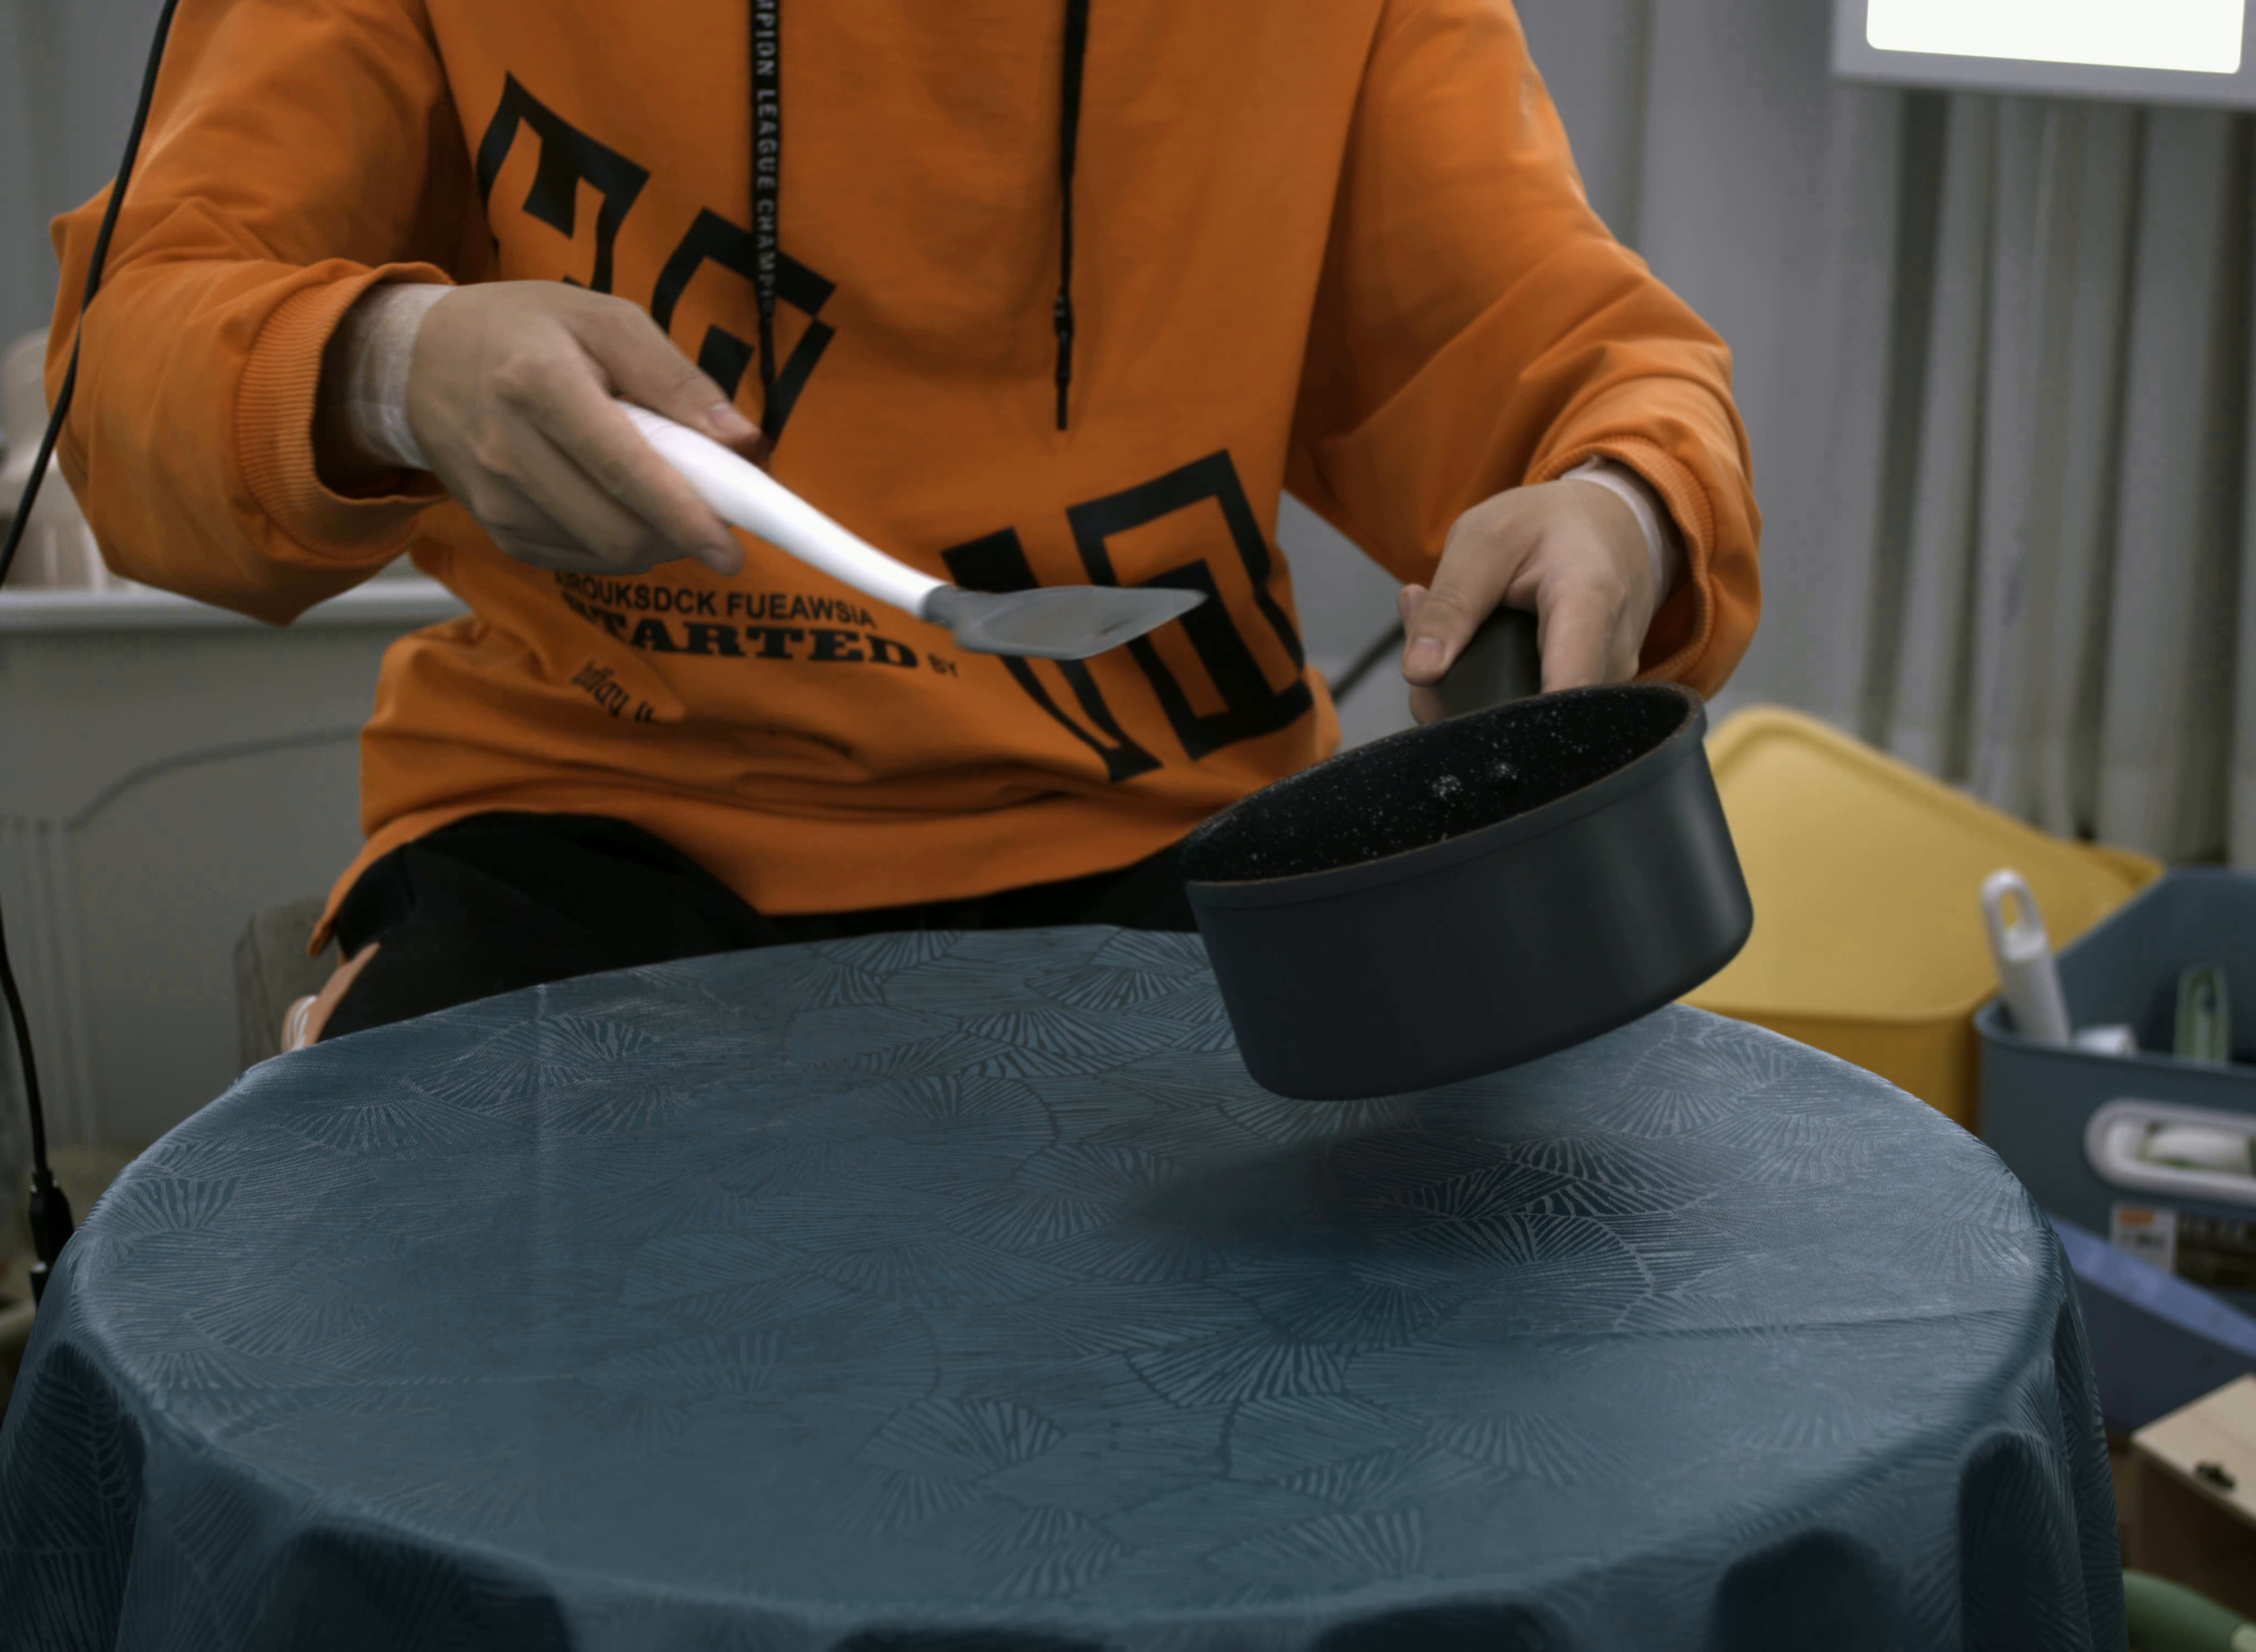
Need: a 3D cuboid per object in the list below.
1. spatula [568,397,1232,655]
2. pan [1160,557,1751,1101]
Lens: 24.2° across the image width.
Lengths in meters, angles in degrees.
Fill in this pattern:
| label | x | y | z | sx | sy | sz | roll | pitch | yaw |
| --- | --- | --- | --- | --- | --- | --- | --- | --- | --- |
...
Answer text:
| label | x | y | z | sx | sy | sz | roll | pitch | yaw |
| --- | --- | --- | --- | --- | --- | --- | --- | --- | --- |
| spatula | -0.078 | -0.090 | 1.642 | 0.059 | 0.032 | 0.283 | -23 | 30 | -37 |
| pan | 0.116 | -0.005 | 1.681 | 0.171 | 0.087 | 0.328 | -14 | 14 | 15 |
